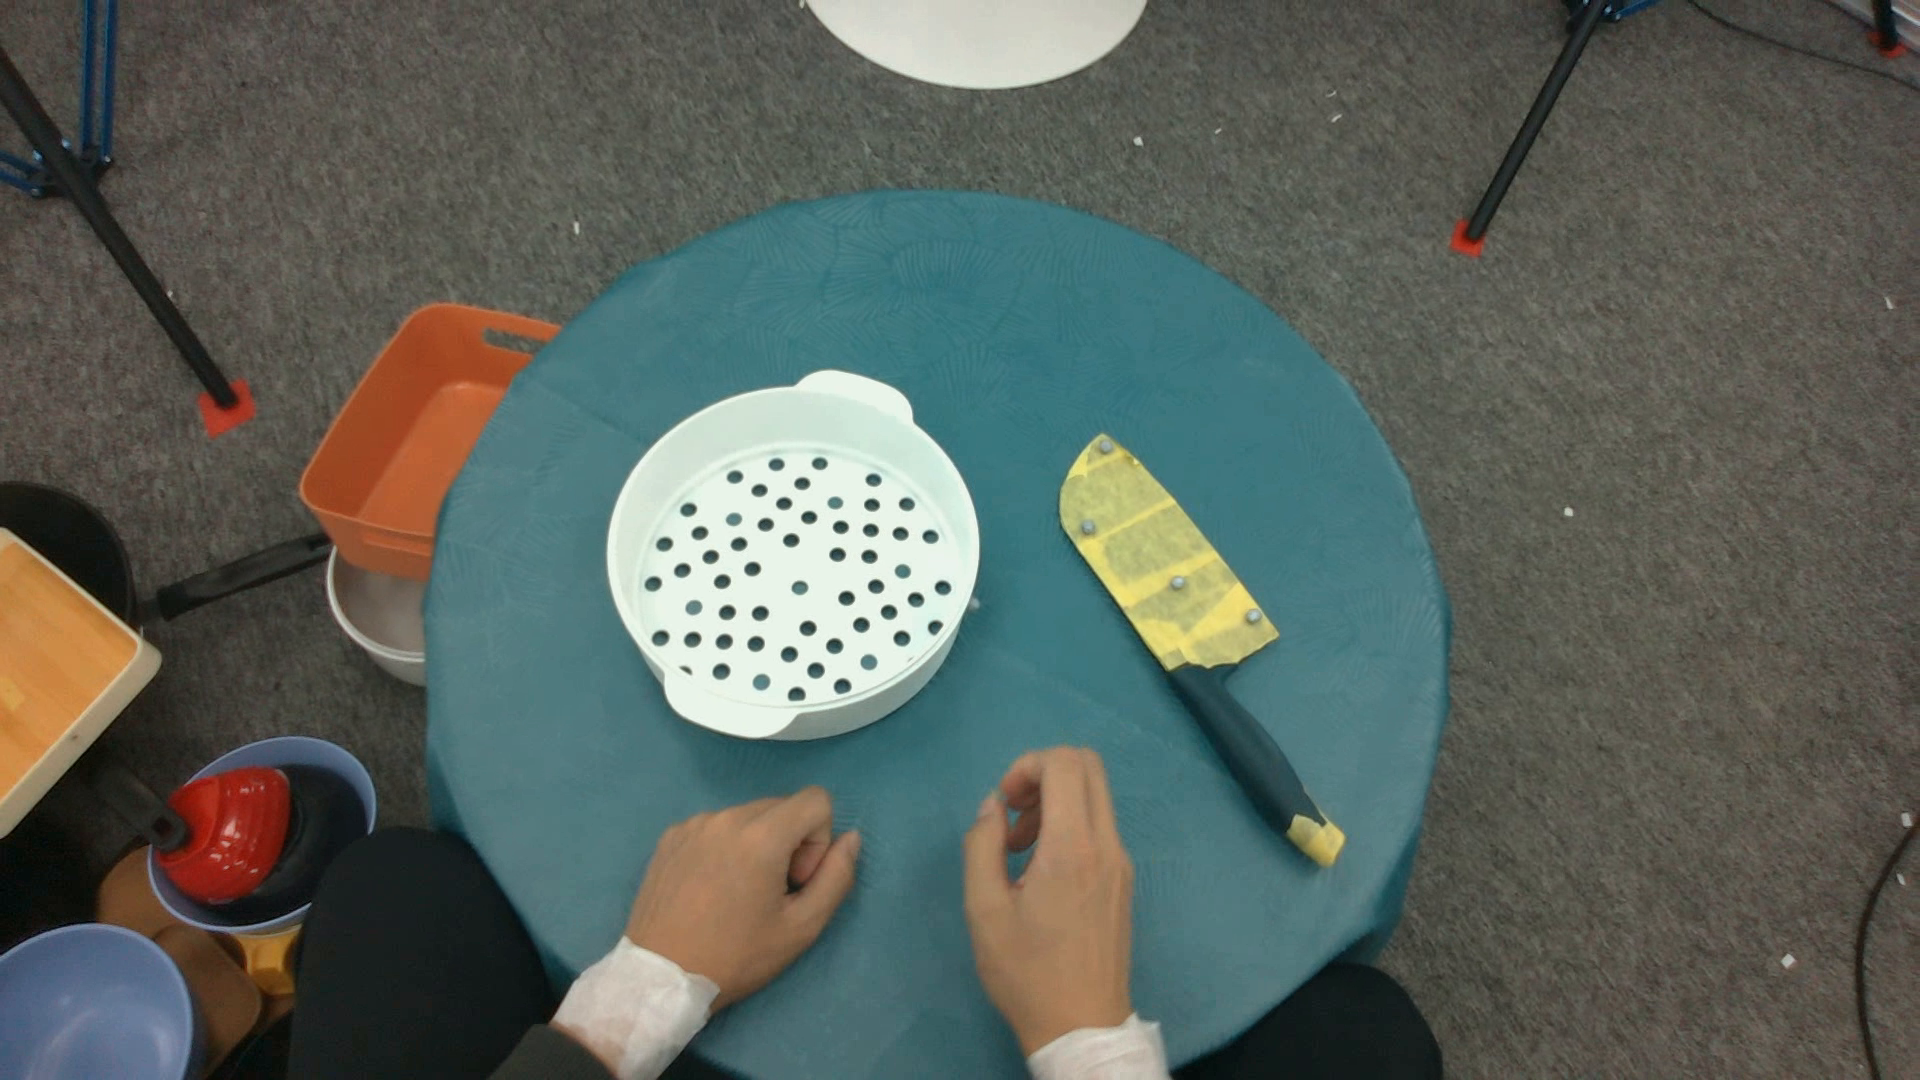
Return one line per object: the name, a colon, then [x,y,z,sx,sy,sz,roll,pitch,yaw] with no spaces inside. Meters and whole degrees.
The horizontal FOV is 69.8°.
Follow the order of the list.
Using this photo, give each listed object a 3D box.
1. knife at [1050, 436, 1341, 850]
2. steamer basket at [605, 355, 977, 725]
knife: [0.140,0.048,0.804,0.081,0.027,0.290,-24,65,-15]
steamer basket: [-0.093,0.005,0.777,0.202,0.069,0.231,16,62,5]
